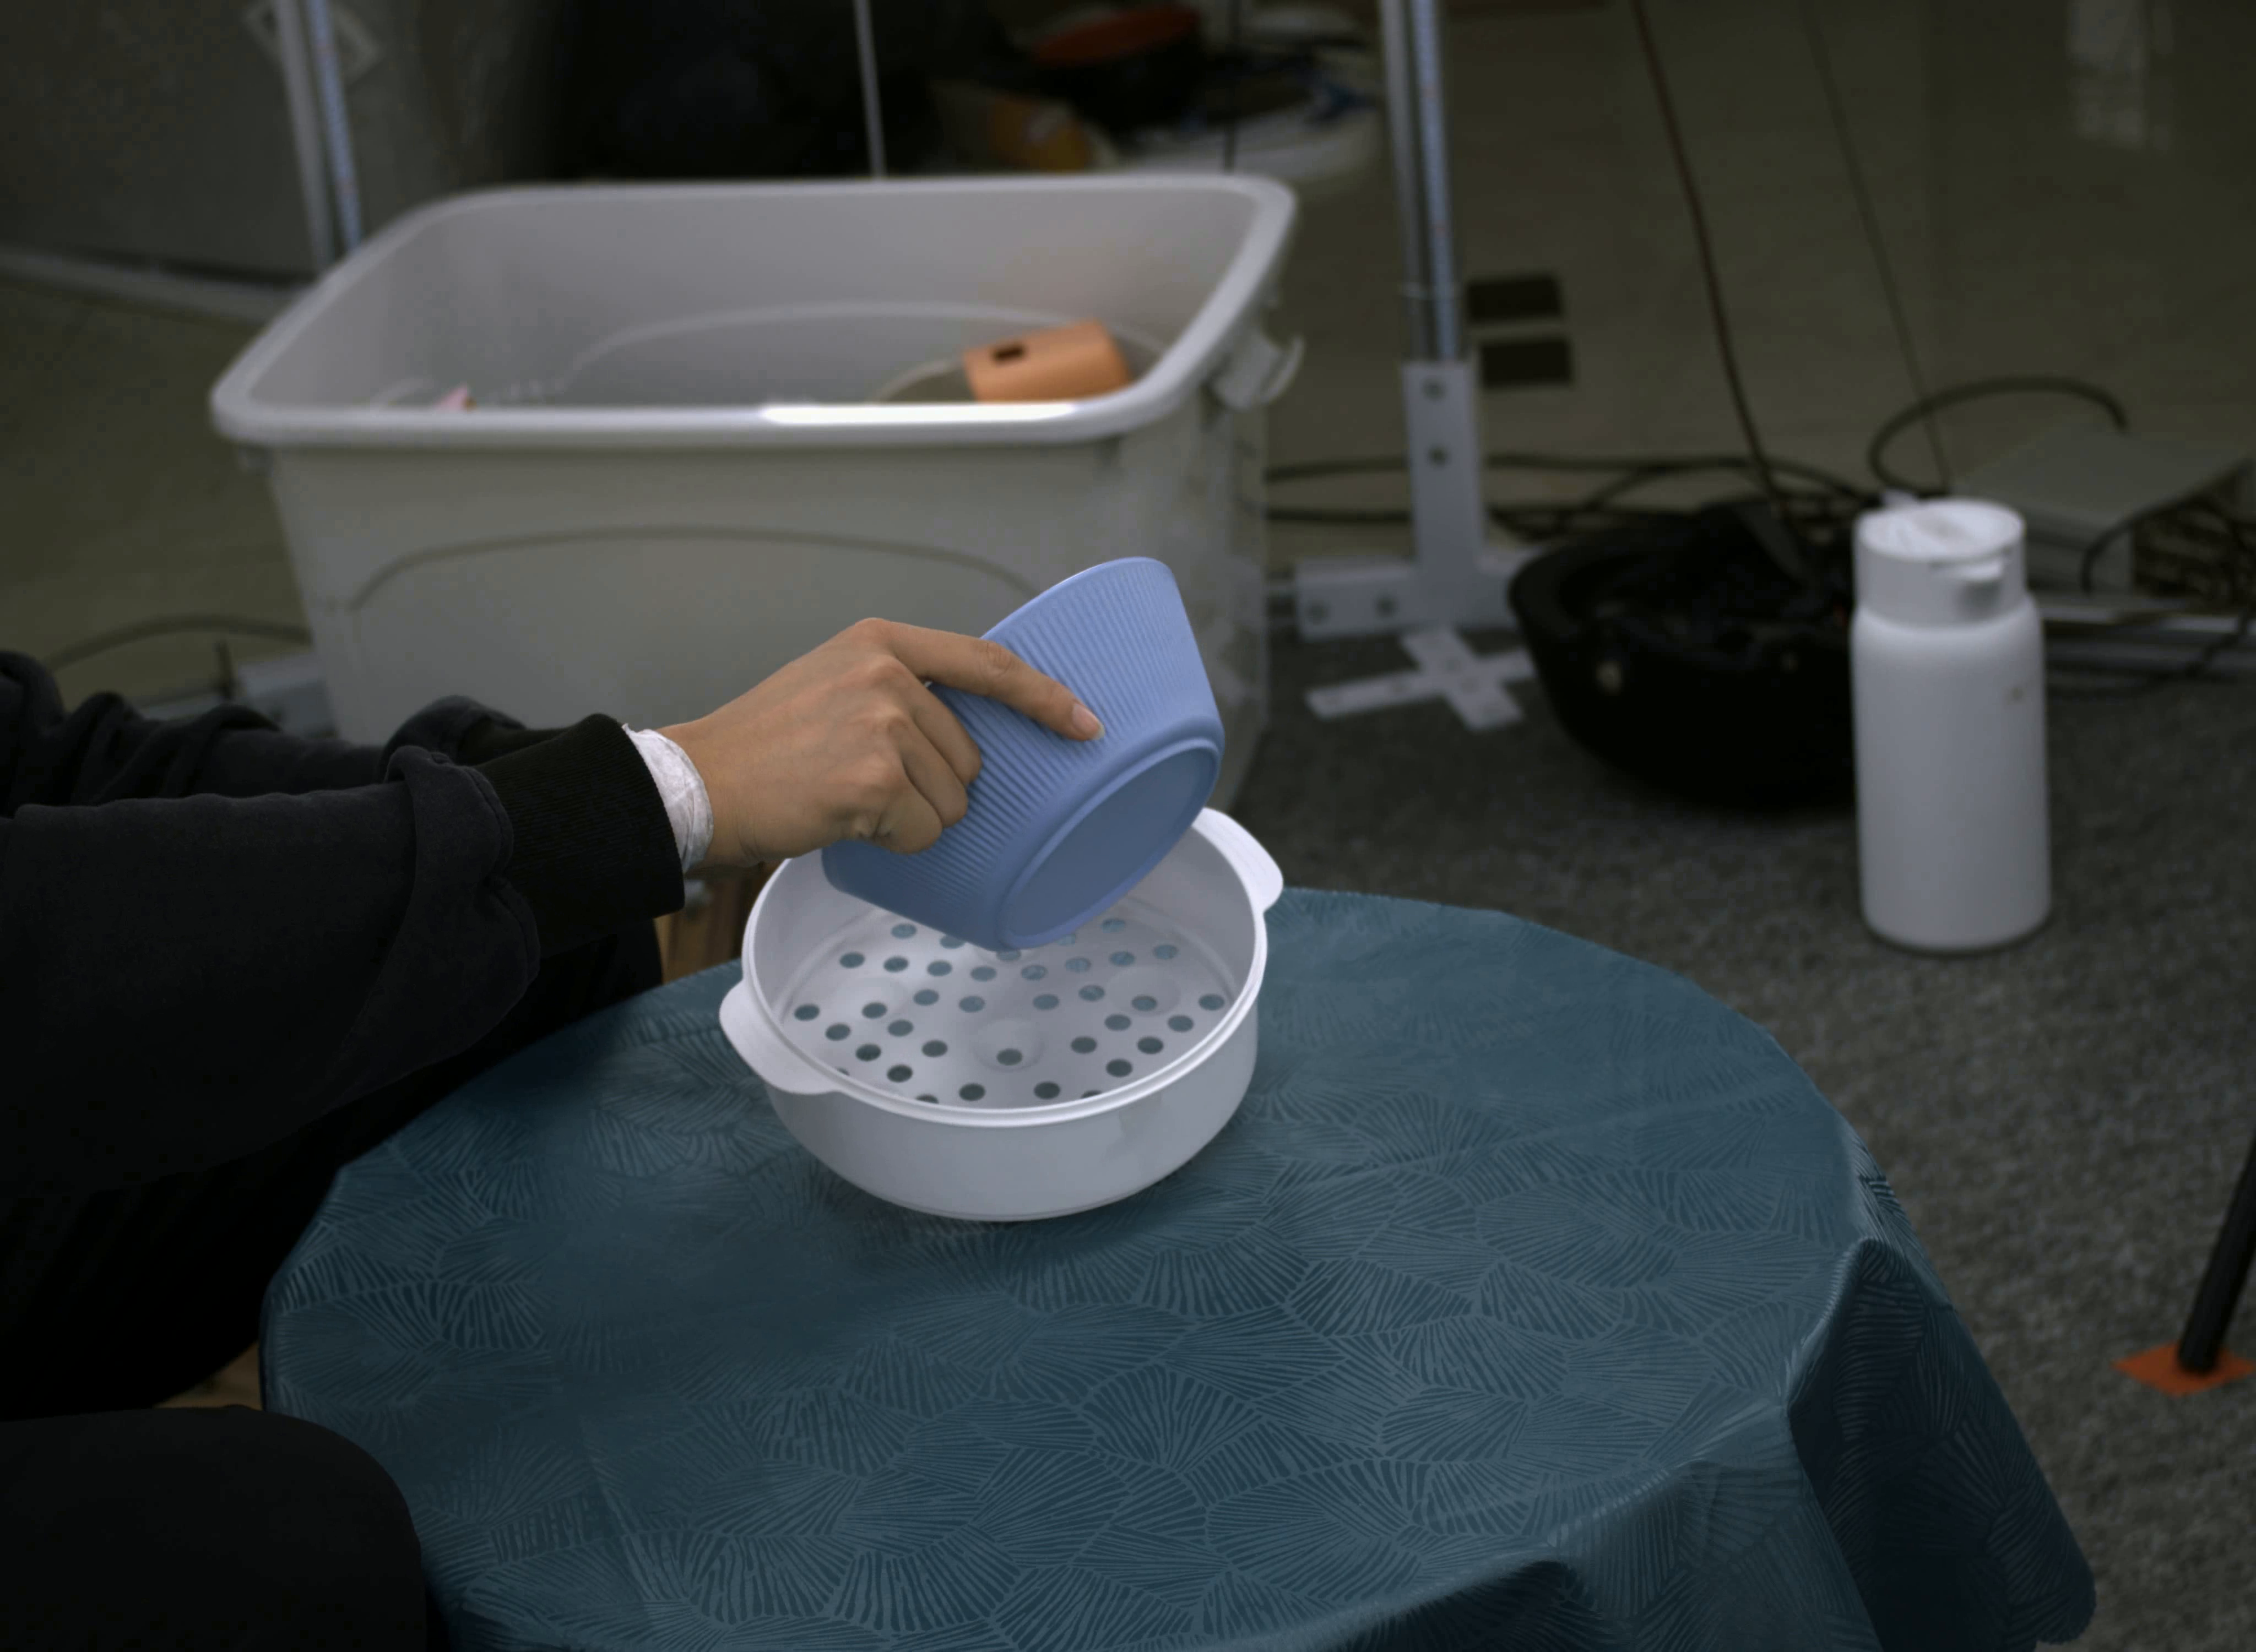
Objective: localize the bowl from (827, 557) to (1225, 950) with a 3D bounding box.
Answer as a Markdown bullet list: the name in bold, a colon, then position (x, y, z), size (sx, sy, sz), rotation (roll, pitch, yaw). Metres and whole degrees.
- **bowl**: position (-0.027, -0.016, 2.137), size (0.174, 0.179, 0.070), rotation (-28, 68, -40)

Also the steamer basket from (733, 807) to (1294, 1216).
- **steamer basket**: position (-0.043, 0.065, 2.189), size (0.229, 0.070, 0.199), rotation (-21, 45, -24)
